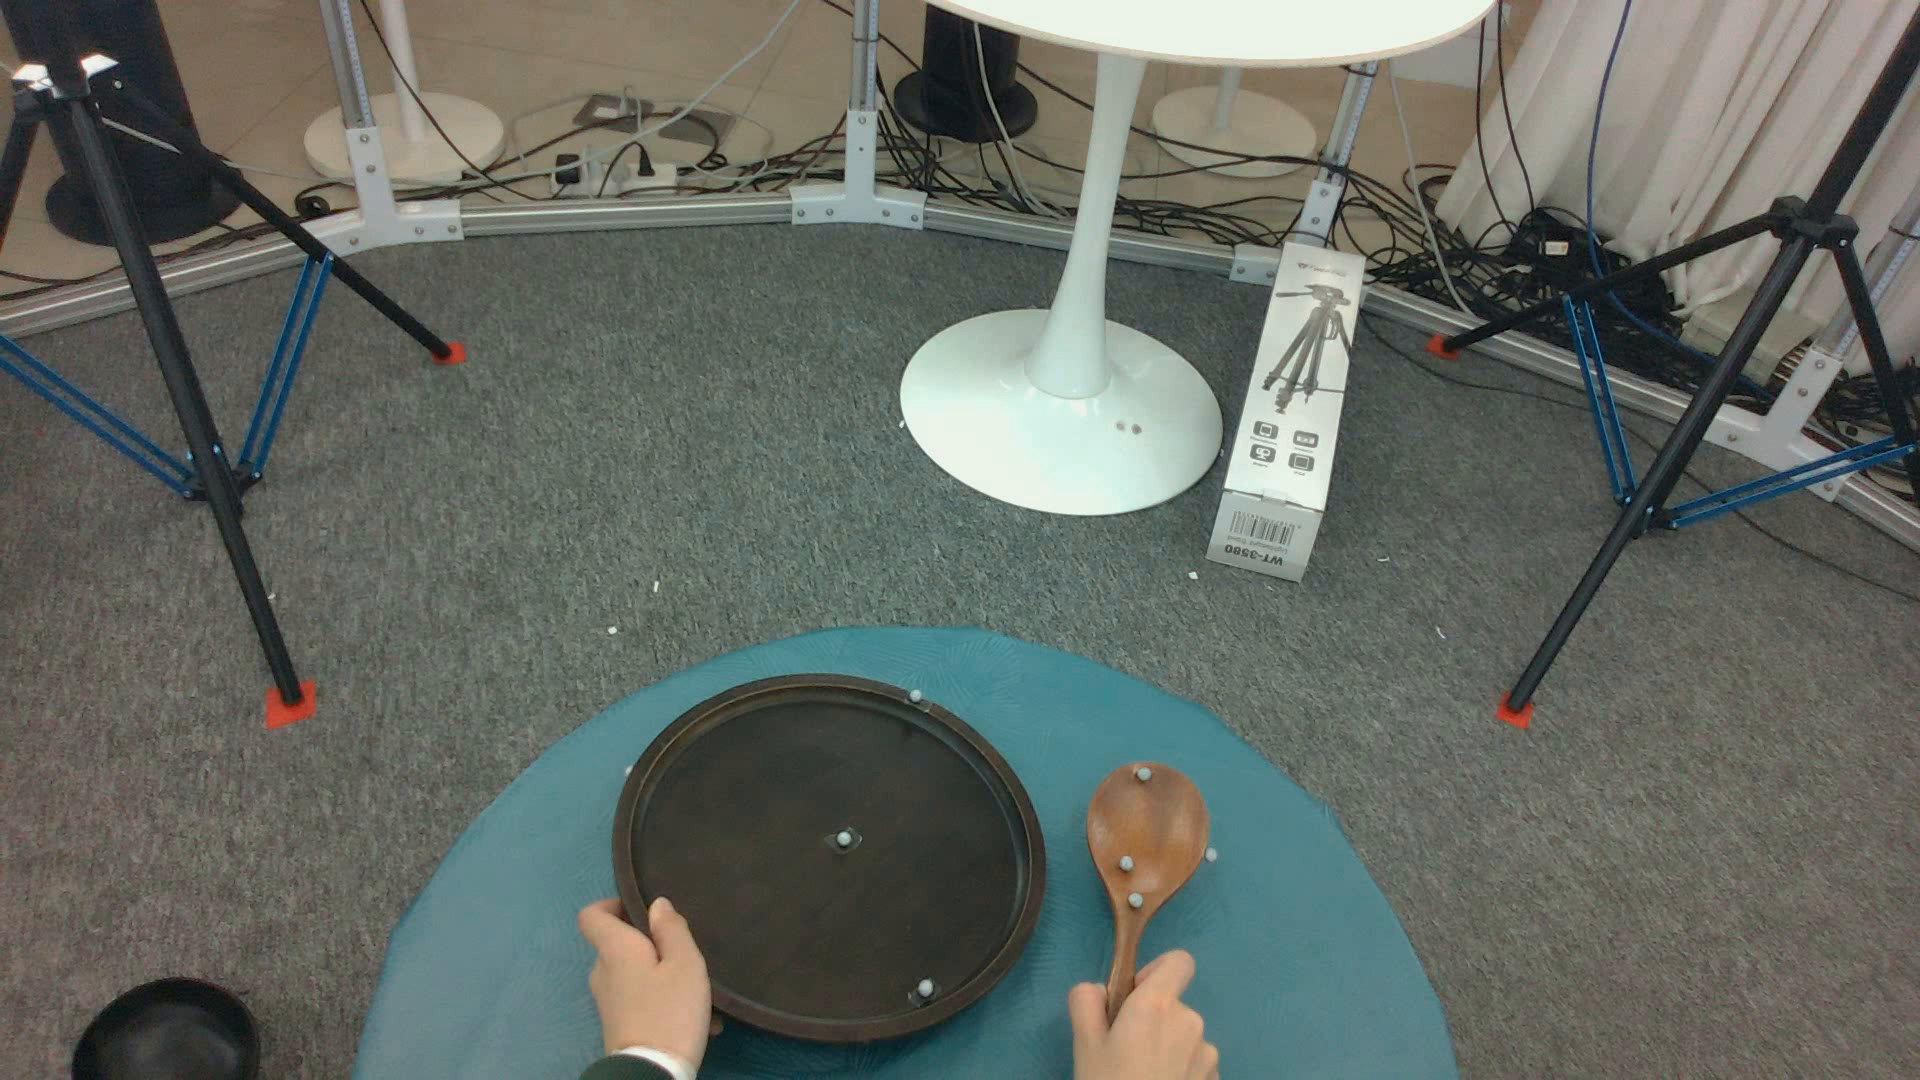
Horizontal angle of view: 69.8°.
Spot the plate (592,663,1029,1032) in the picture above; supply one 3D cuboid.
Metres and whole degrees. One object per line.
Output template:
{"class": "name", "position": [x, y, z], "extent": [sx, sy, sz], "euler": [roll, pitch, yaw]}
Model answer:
{"class": "plate", "position": [-0.085, 0.172, 0.806], "extent": [0.255, 0.029, 0.256], "euler": [9, 39, -7]}

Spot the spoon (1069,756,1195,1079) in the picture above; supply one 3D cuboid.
{"class": "spoon", "position": [0.090, 0.215, 0.788], "extent": [0.075, 0.017, 0.217], "euler": [12, 47, 6]}
